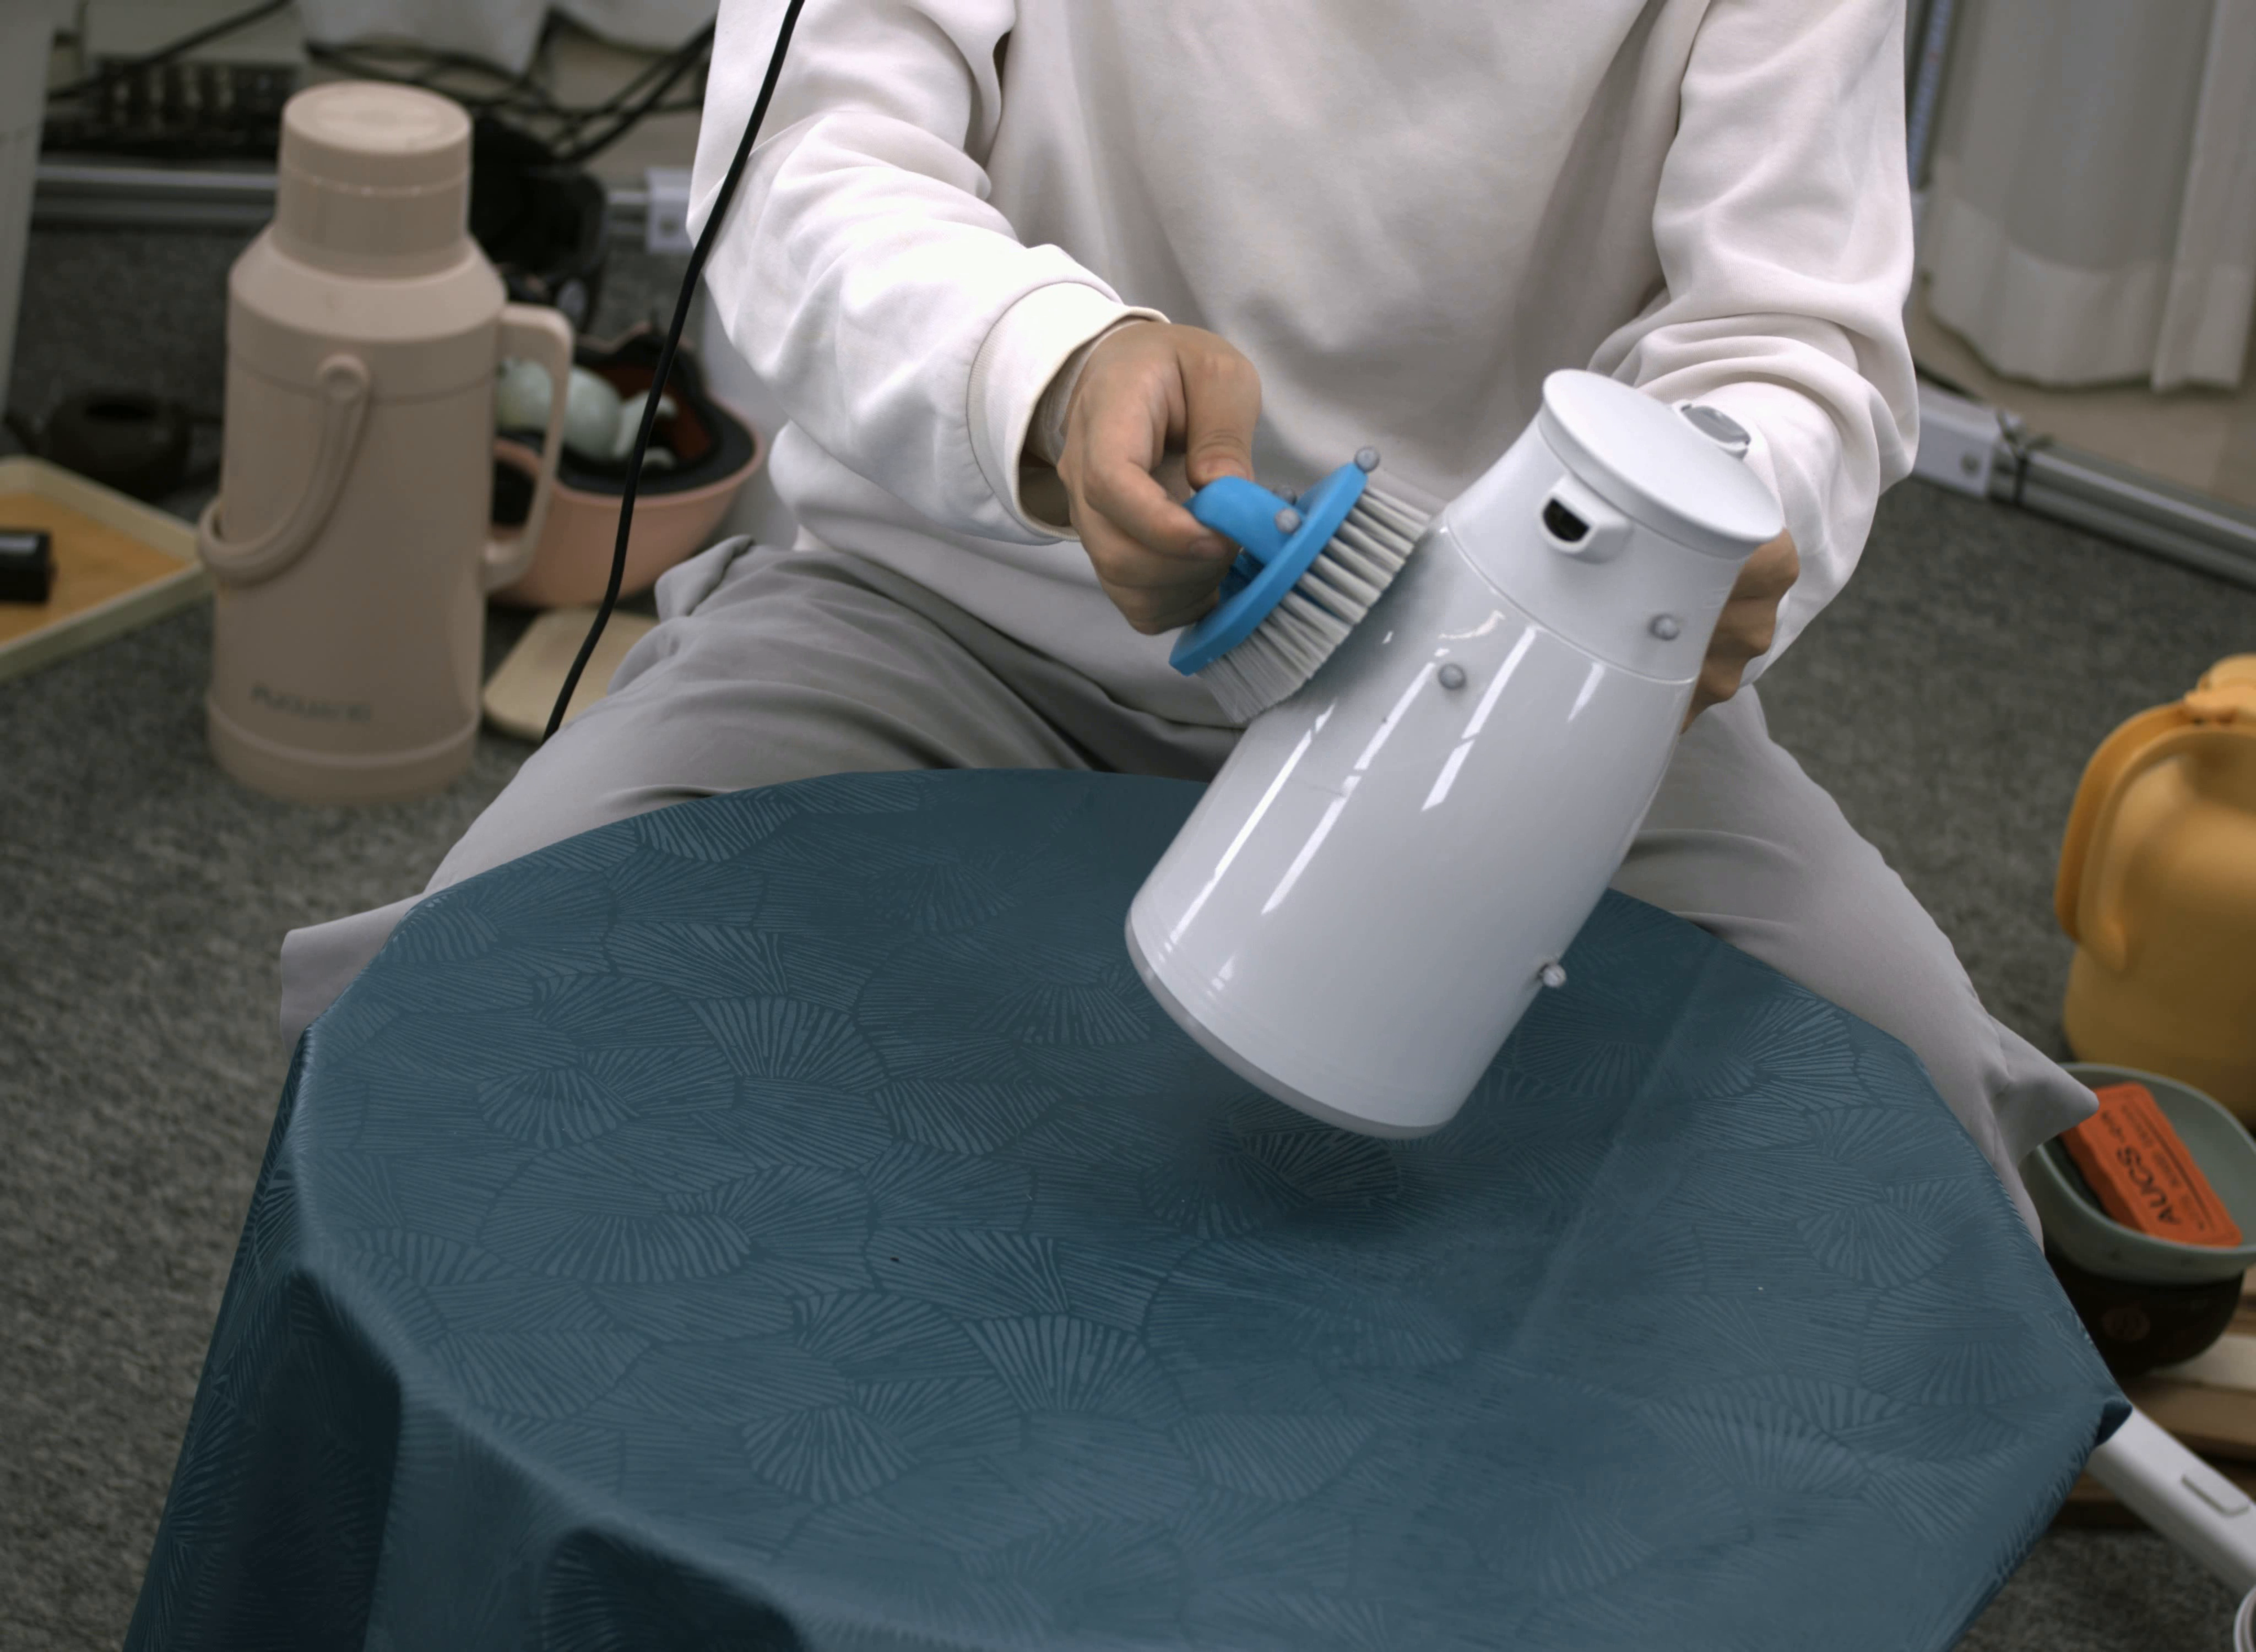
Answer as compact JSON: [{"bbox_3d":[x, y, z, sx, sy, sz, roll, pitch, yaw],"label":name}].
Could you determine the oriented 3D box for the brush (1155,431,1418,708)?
[{"bbox_3d":[0.043,-0.092,1.766,0.063,0.084,0.142,34,-9,-6],"label":"brush"}]

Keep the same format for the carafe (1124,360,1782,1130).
[{"bbox_3d":[0.123,-0.038,1.787,0.133,0.248,0.167,39,23,15],"label":"carafe"}]
